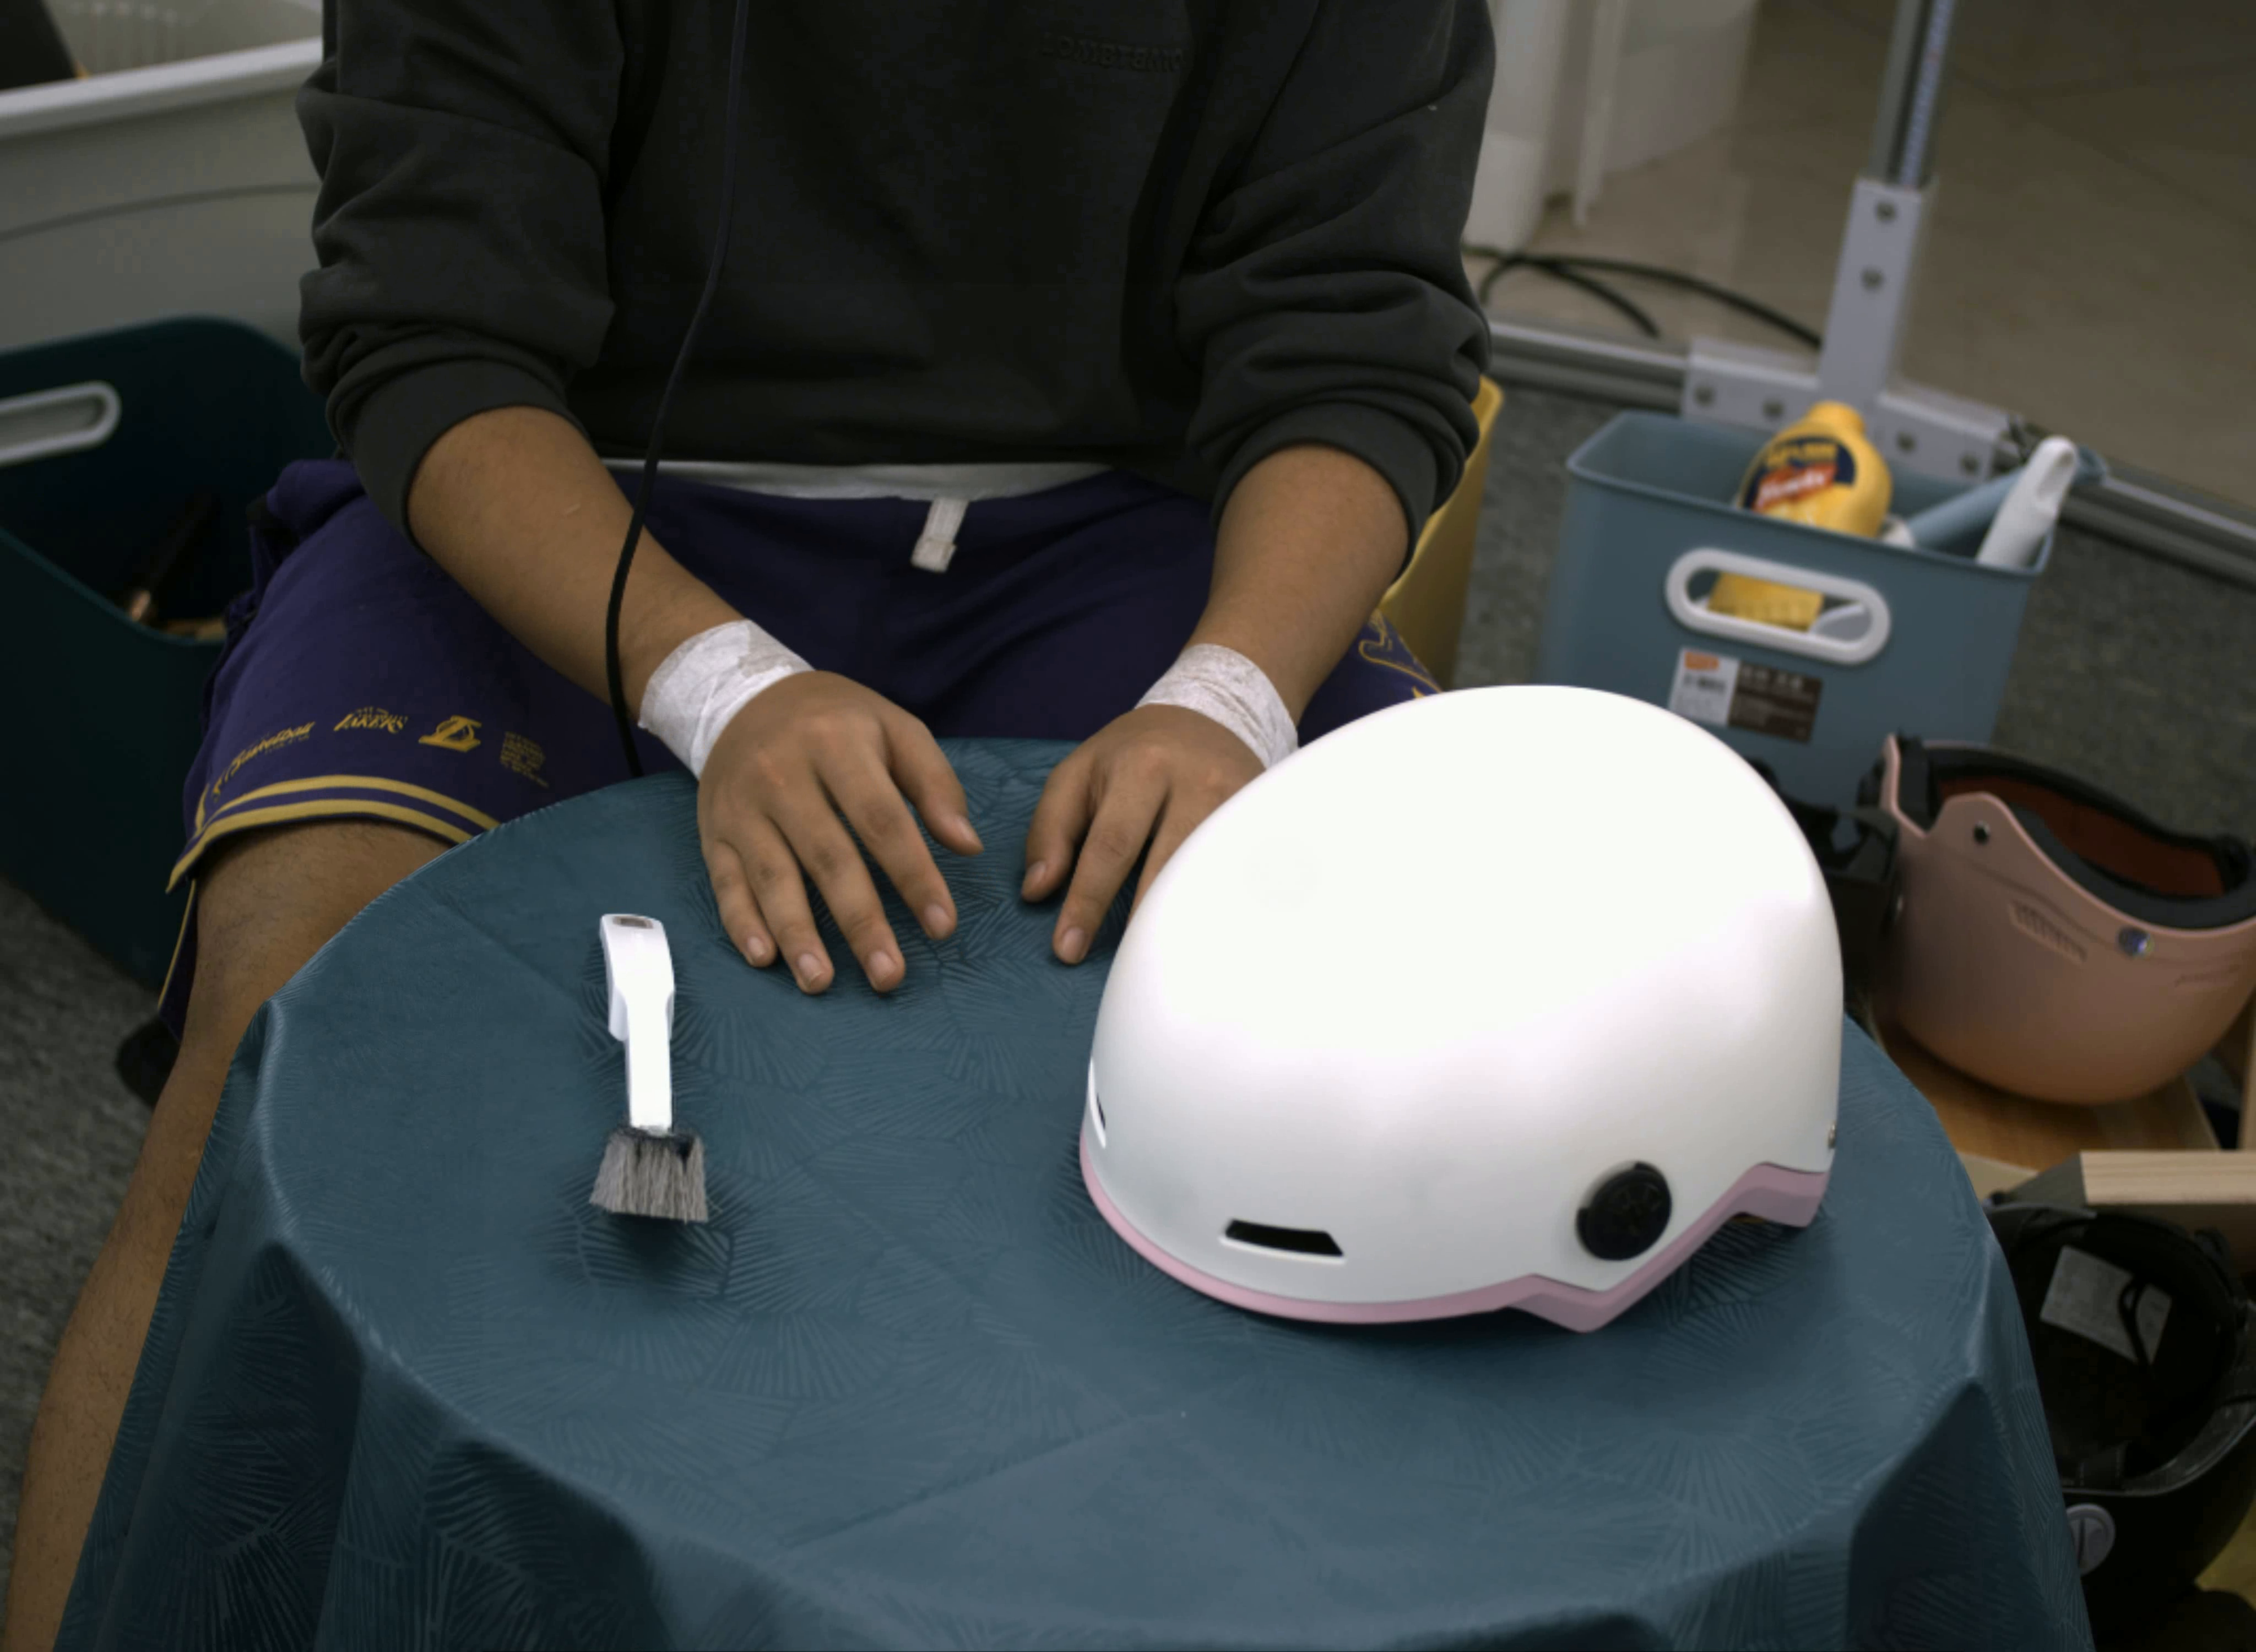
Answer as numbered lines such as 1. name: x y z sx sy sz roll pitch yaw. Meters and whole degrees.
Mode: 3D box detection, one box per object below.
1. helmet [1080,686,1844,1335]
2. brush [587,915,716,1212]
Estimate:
1. helmet: 0.120 0.047 1.800 0.267 0.166 0.239 -12 32 -32
2. brush: -0.168 0.084 1.816 0.034 0.050 0.245 6 14 -11
